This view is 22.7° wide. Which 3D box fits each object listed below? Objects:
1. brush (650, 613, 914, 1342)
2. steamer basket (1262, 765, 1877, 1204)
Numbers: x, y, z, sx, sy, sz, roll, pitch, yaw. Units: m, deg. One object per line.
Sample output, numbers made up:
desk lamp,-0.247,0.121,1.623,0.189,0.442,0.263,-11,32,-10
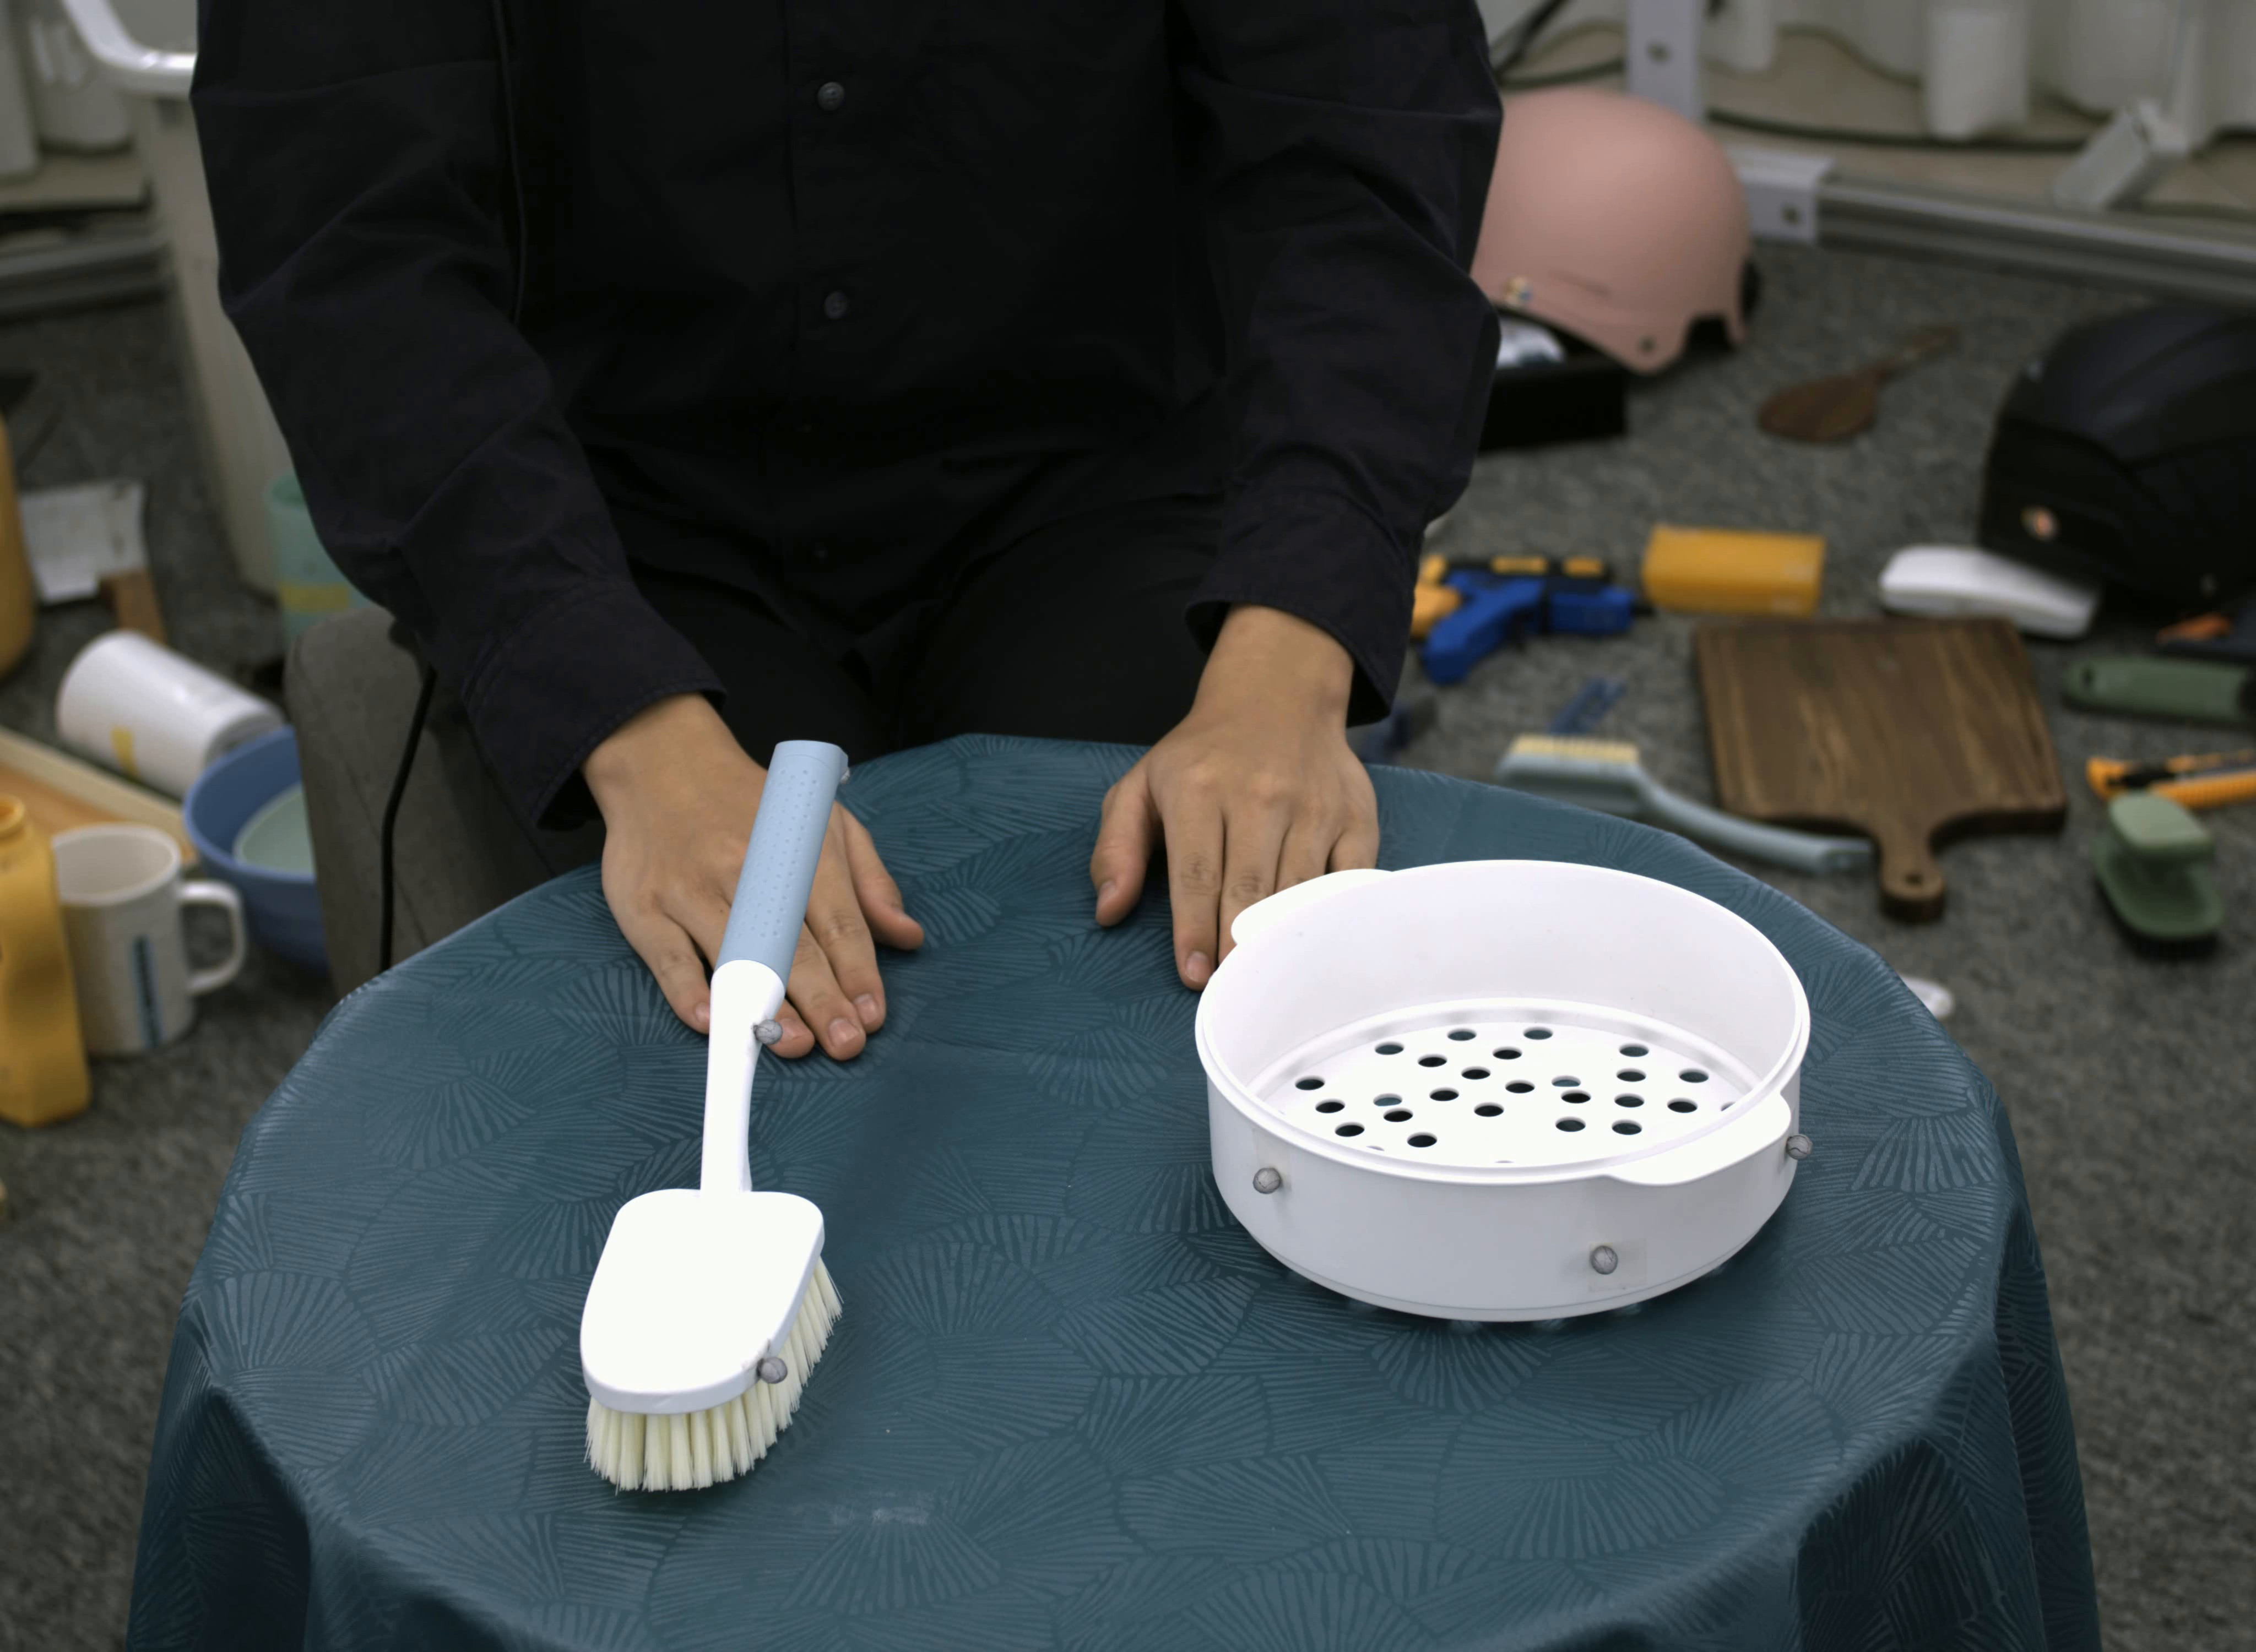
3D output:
brush,-0.098,0.058,1.849,0.083,0.083,0.332,30,37,-15
steamer basket,0.145,0.053,1.854,0.203,0.068,0.231,-20,32,-31
